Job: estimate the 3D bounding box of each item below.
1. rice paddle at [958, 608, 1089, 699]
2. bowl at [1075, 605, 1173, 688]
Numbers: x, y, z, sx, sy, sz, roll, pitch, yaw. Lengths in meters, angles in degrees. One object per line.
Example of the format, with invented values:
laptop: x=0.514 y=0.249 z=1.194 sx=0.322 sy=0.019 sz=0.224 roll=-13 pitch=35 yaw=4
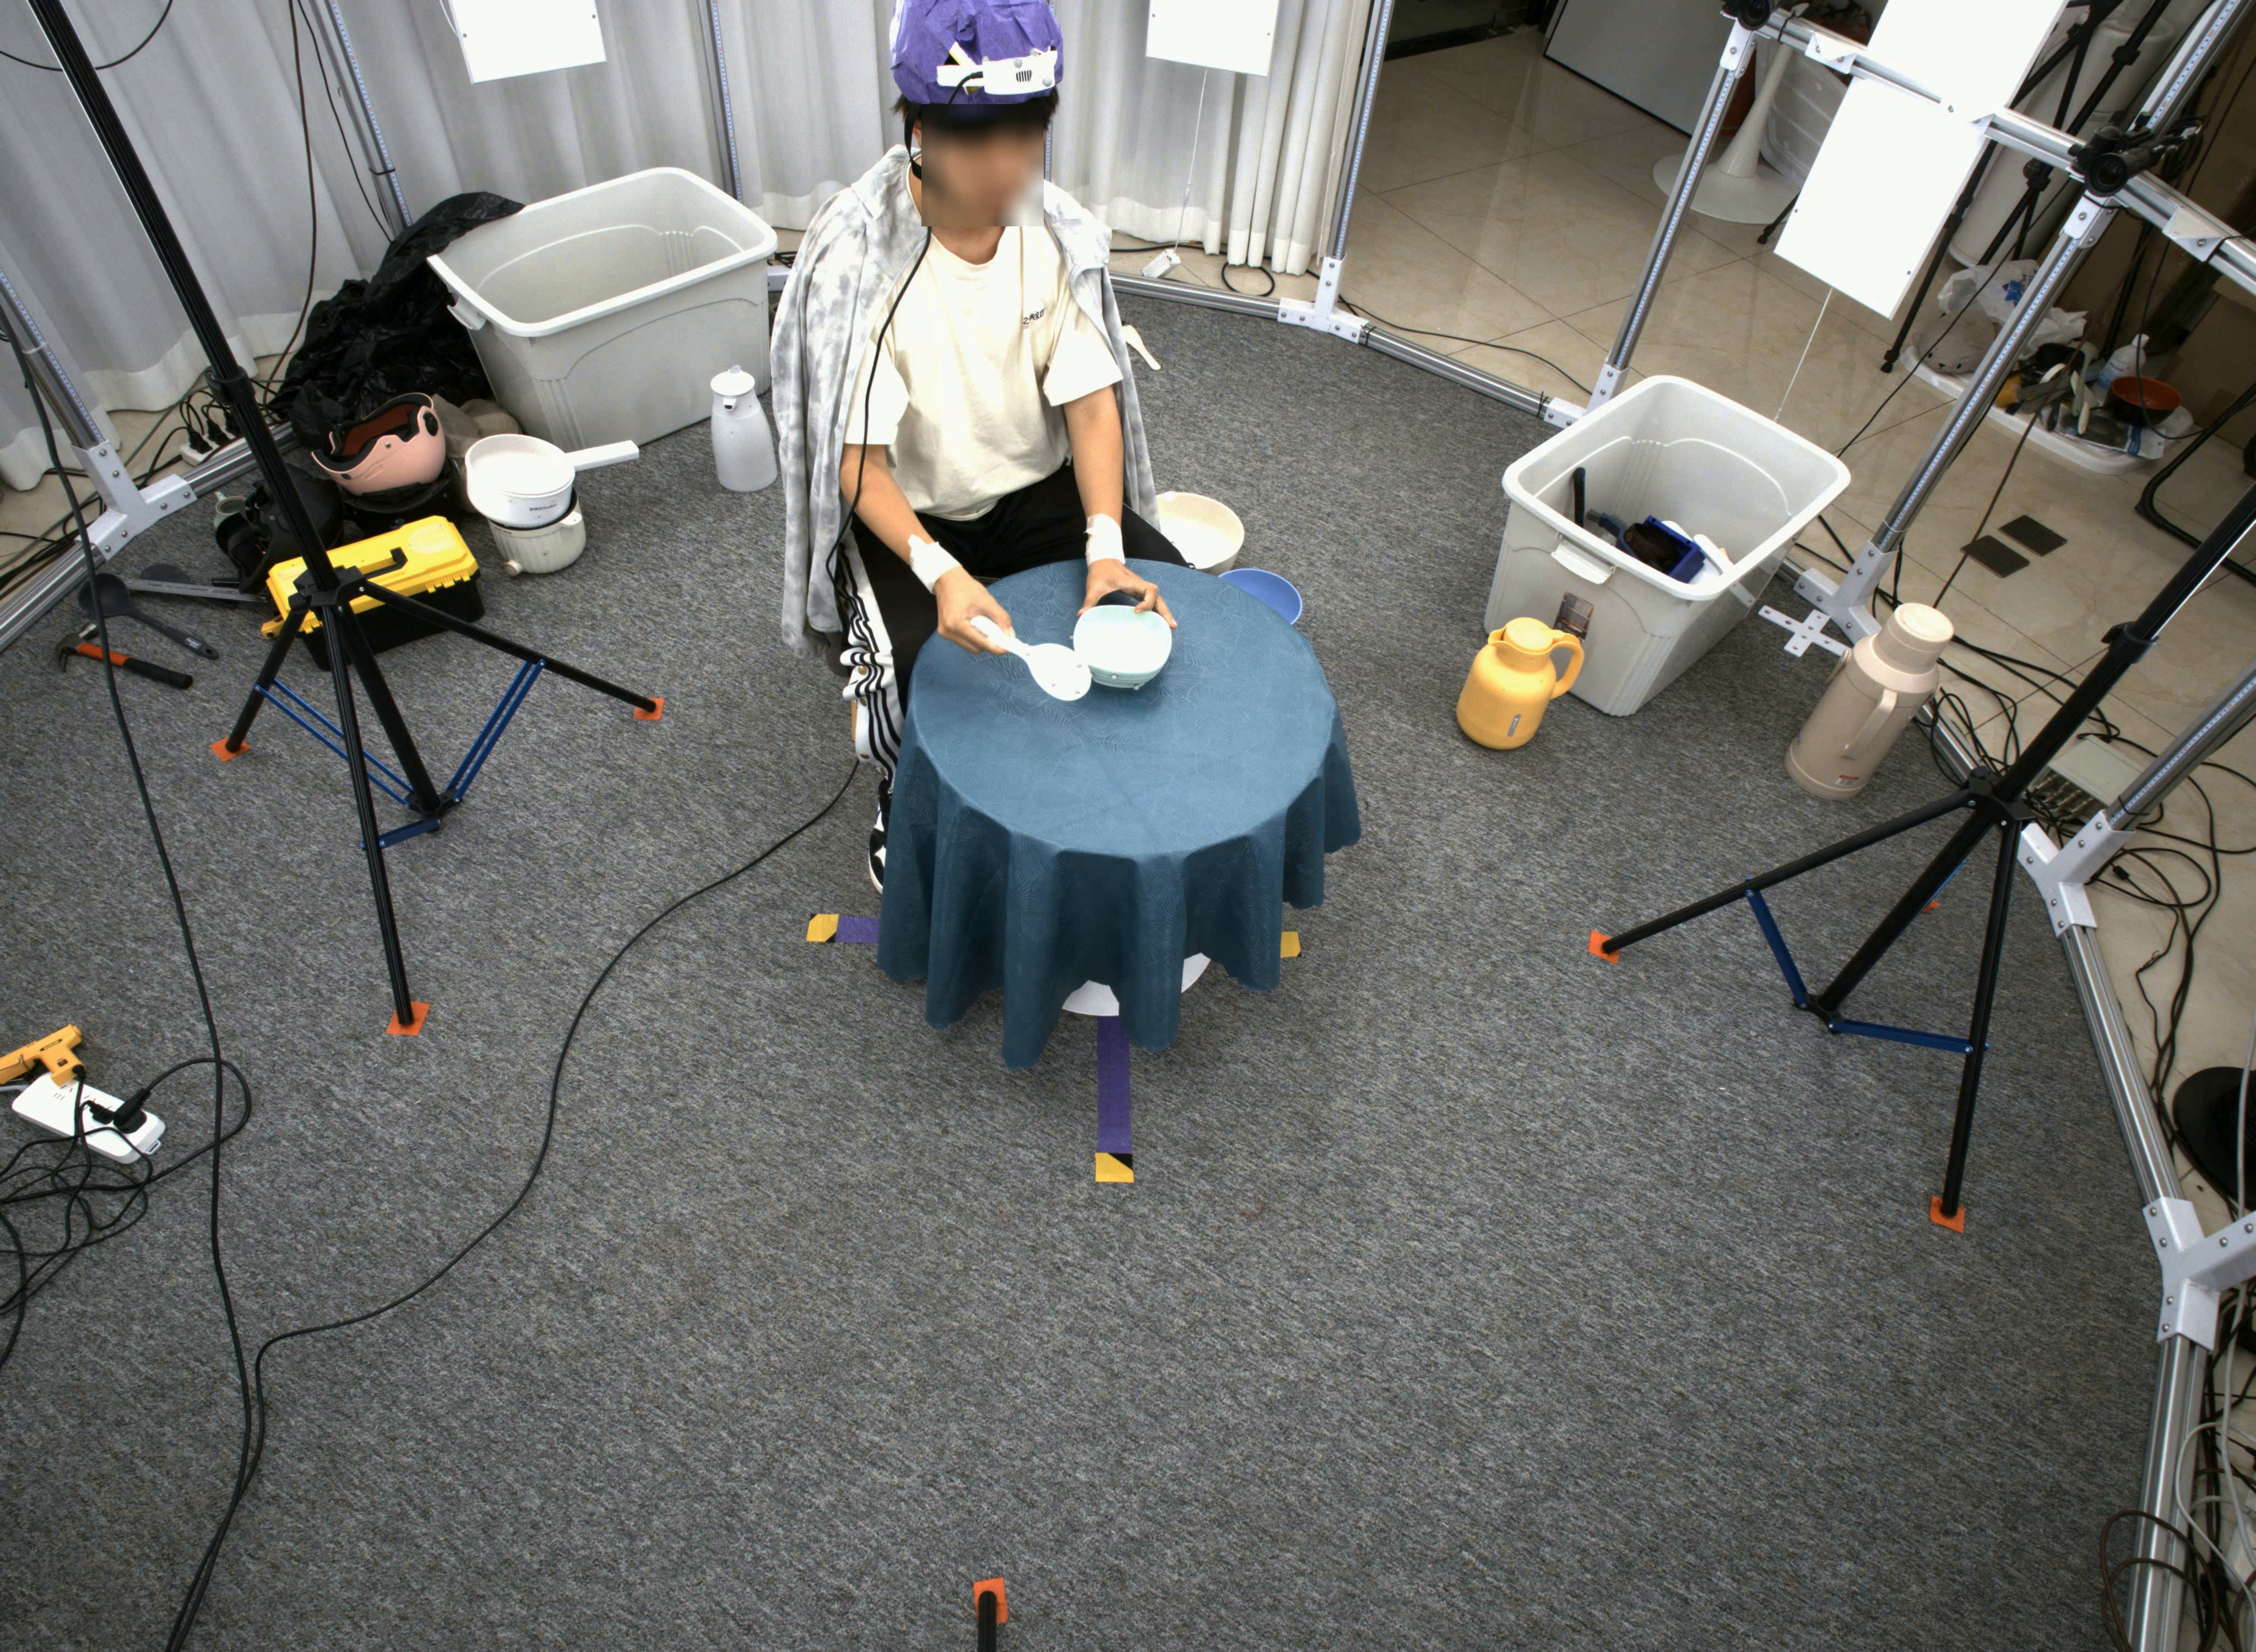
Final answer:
rice paddle: x=-0.140 y=-0.235 z=1.734 sx=0.207 sy=0.067 sz=0.029 roll=31 pitch=30 yaw=17
bowl: x=-0.007 y=-0.249 z=1.841 sx=0.151 sy=0.057 sz=0.155 roll=1 pitch=50 yaw=-2
